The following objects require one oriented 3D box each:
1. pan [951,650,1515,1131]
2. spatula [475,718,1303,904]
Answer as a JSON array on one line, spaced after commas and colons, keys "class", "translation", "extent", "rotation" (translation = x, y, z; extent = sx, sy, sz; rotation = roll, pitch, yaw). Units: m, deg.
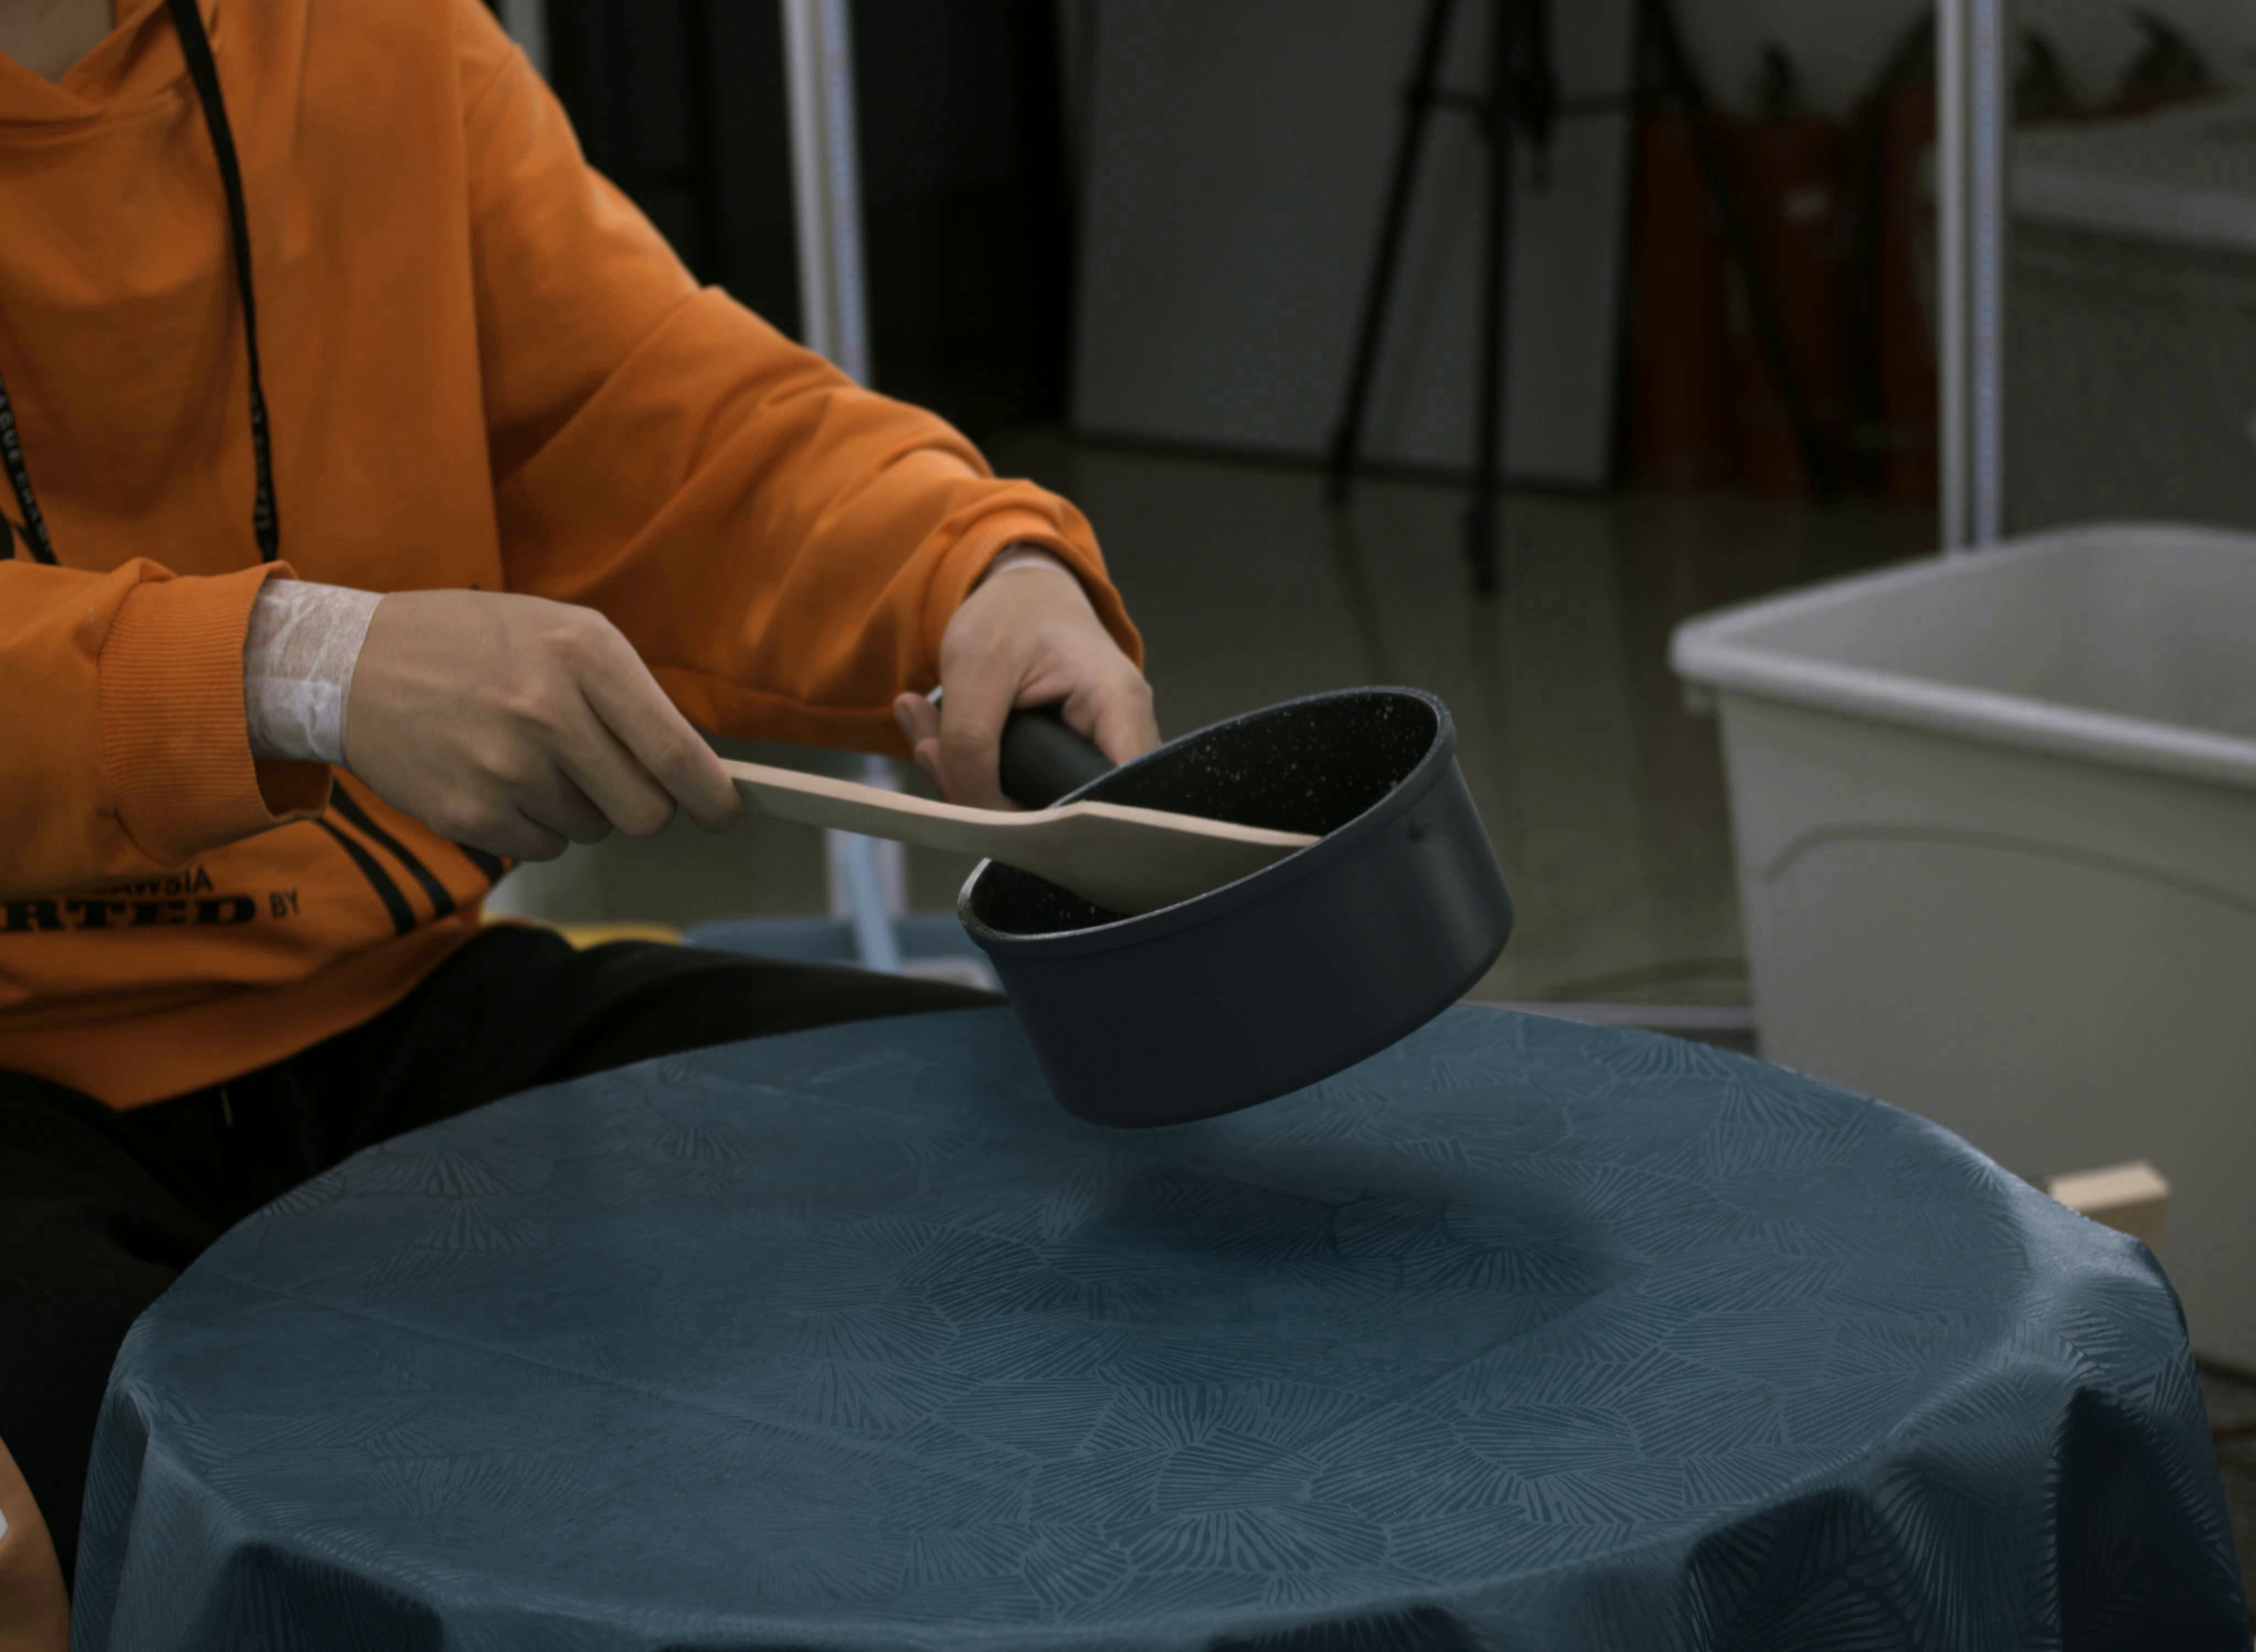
[{"class": "pan", "translation": [0.011, 0.009, 1.800], "extent": [0.170, 0.087, 0.331], "rotation": [-27, 18, -11]}, {"class": "spatula", "translation": [-0.074, -0.004, 1.750], "extent": [0.291, 0.011, 0.072], "rotation": [10, -27, 12]}]
